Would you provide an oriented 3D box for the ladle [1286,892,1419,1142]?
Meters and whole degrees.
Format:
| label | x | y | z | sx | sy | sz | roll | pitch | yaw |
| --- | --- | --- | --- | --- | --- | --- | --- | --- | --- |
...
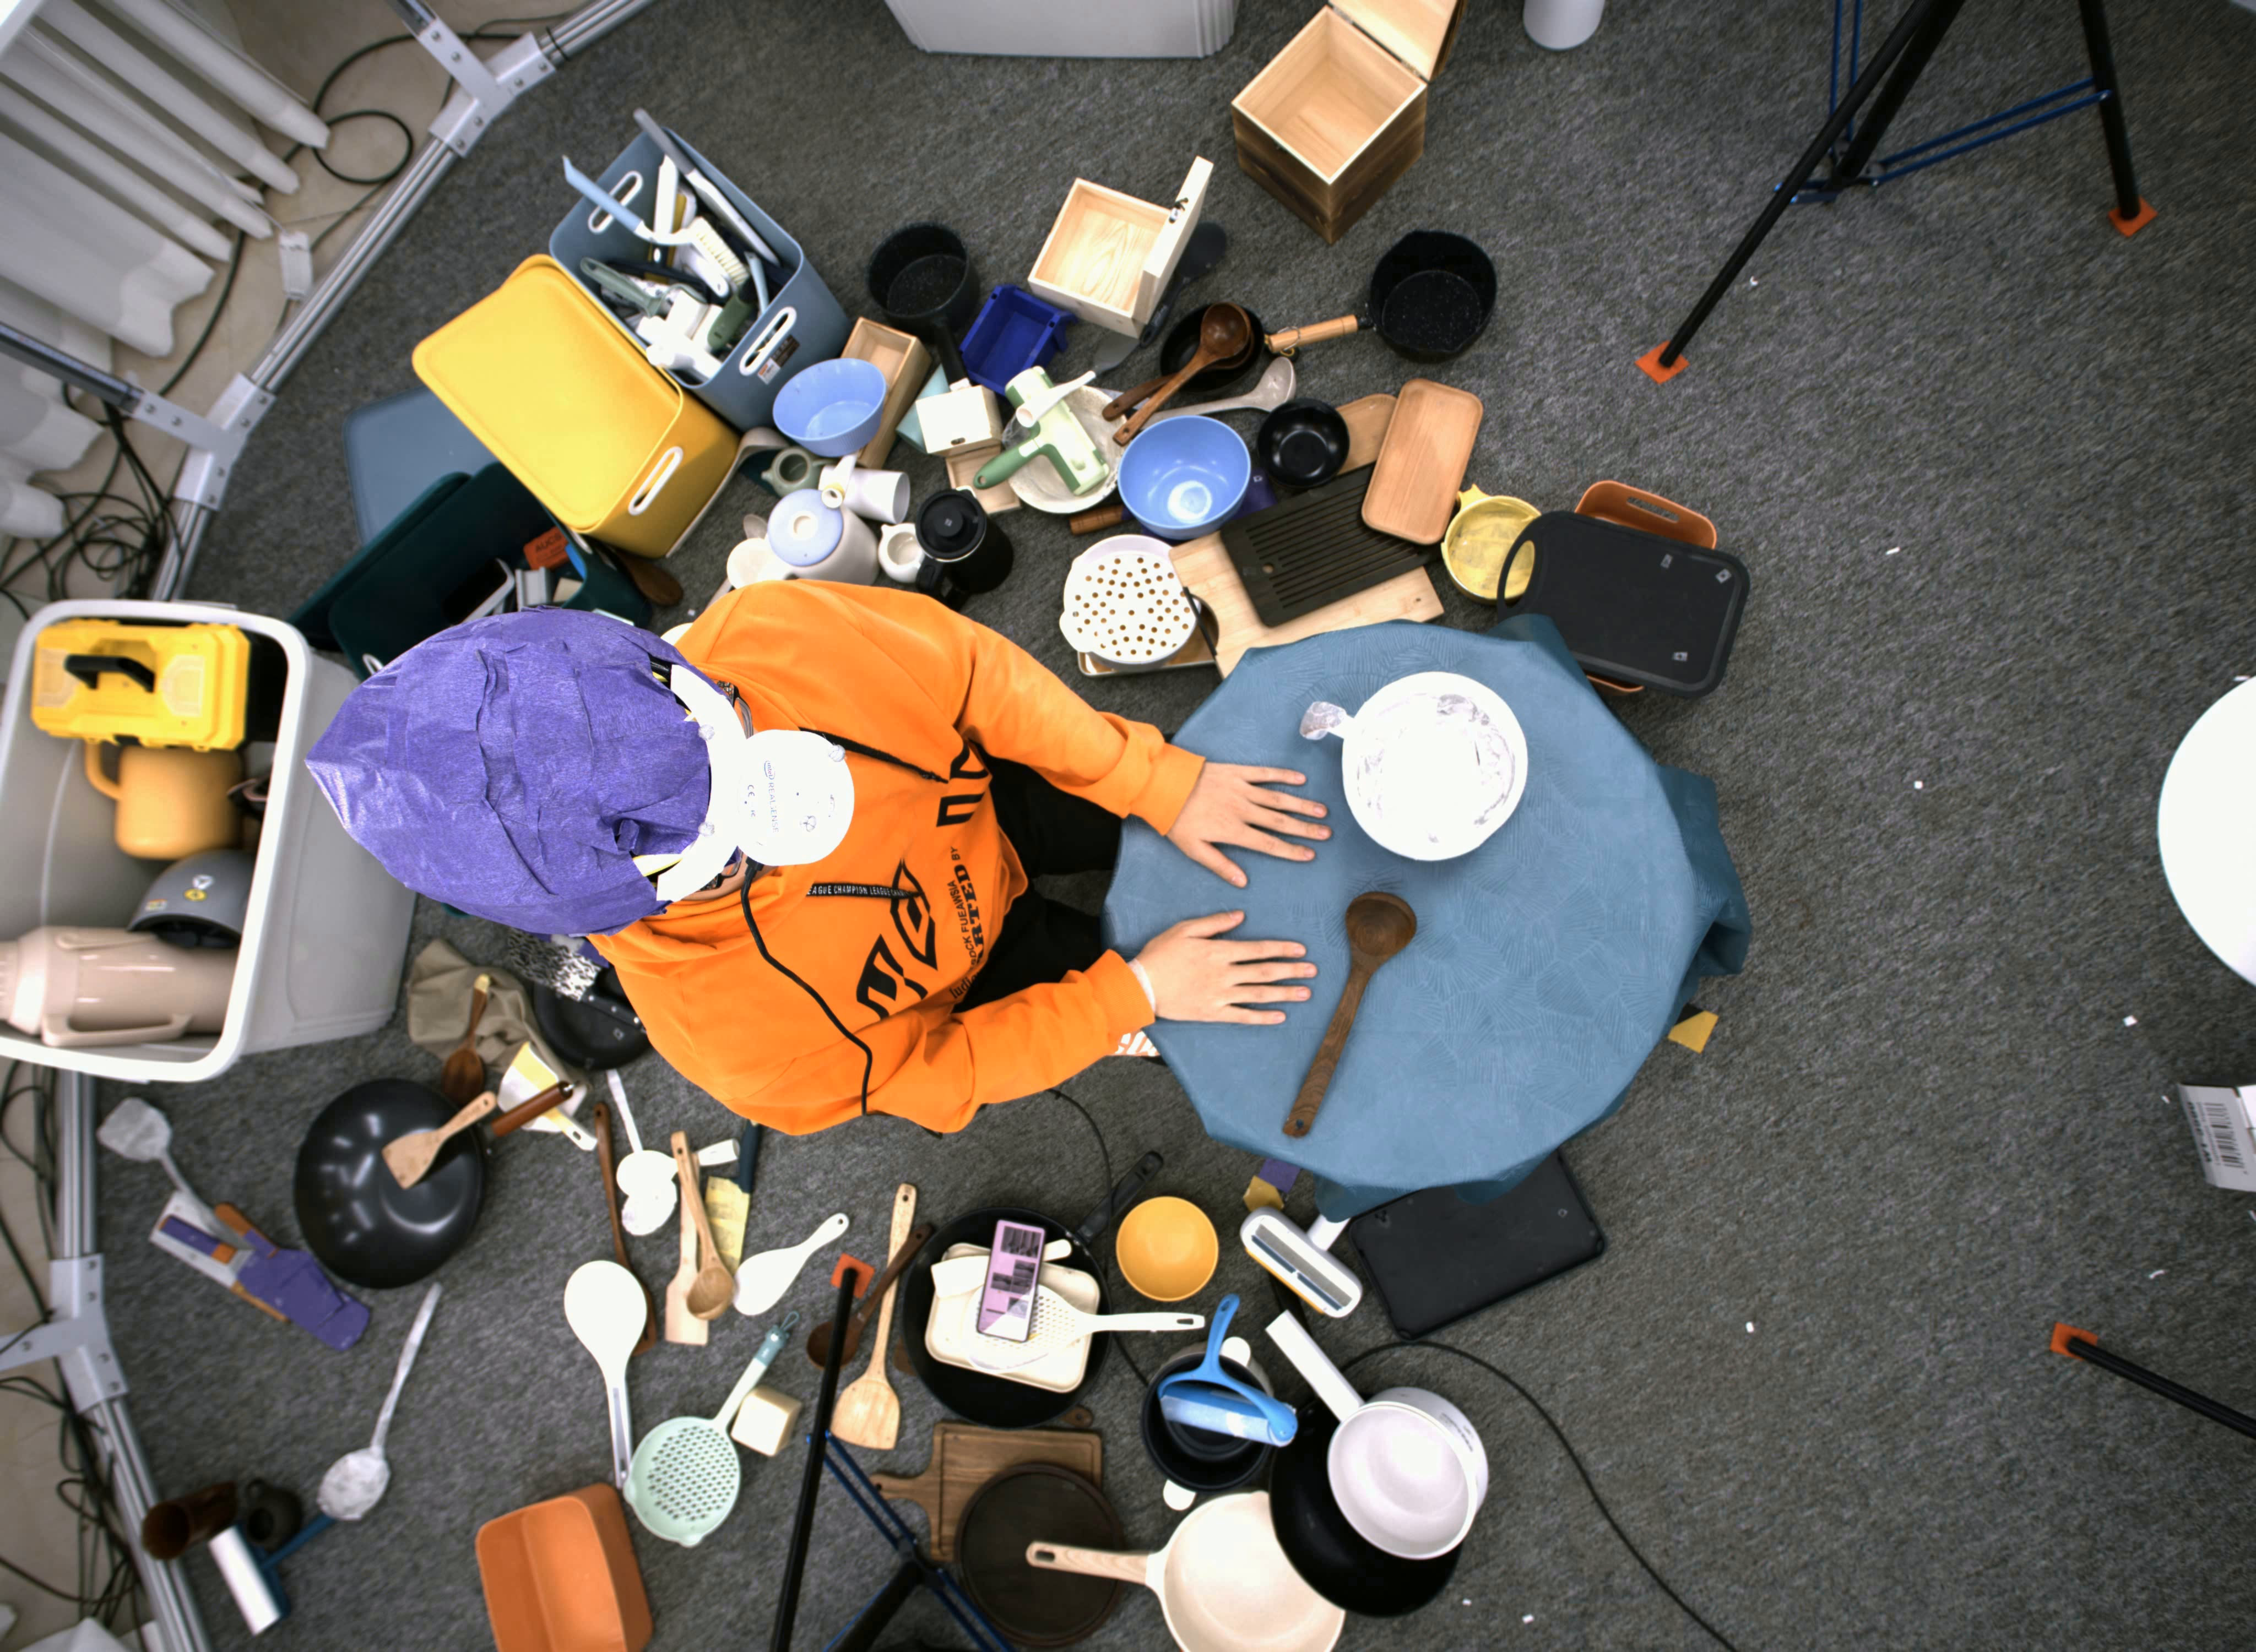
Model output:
| label | x | y | z | sx | sy | sz | roll | pitch | yaw |
| --- | --- | --- | --- | --- | --- | --- | --- | --- | --- |
| ladle | 0.222 | 0.198 | 1.426 | 0.076 | 0.071 | 0.274 | 23 | 90 | 13 |

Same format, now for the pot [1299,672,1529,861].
| label | x | y | z | sx | sy | sz | roll | pitch | yaw |
| --- | --- | --- | --- | --- | --- | --- | --- | --- | --- |
| pot | 0.282 | -0.068 | 1.395 | 0.233 | 0.137 | 0.178 | 24 | 90 | 11 |
